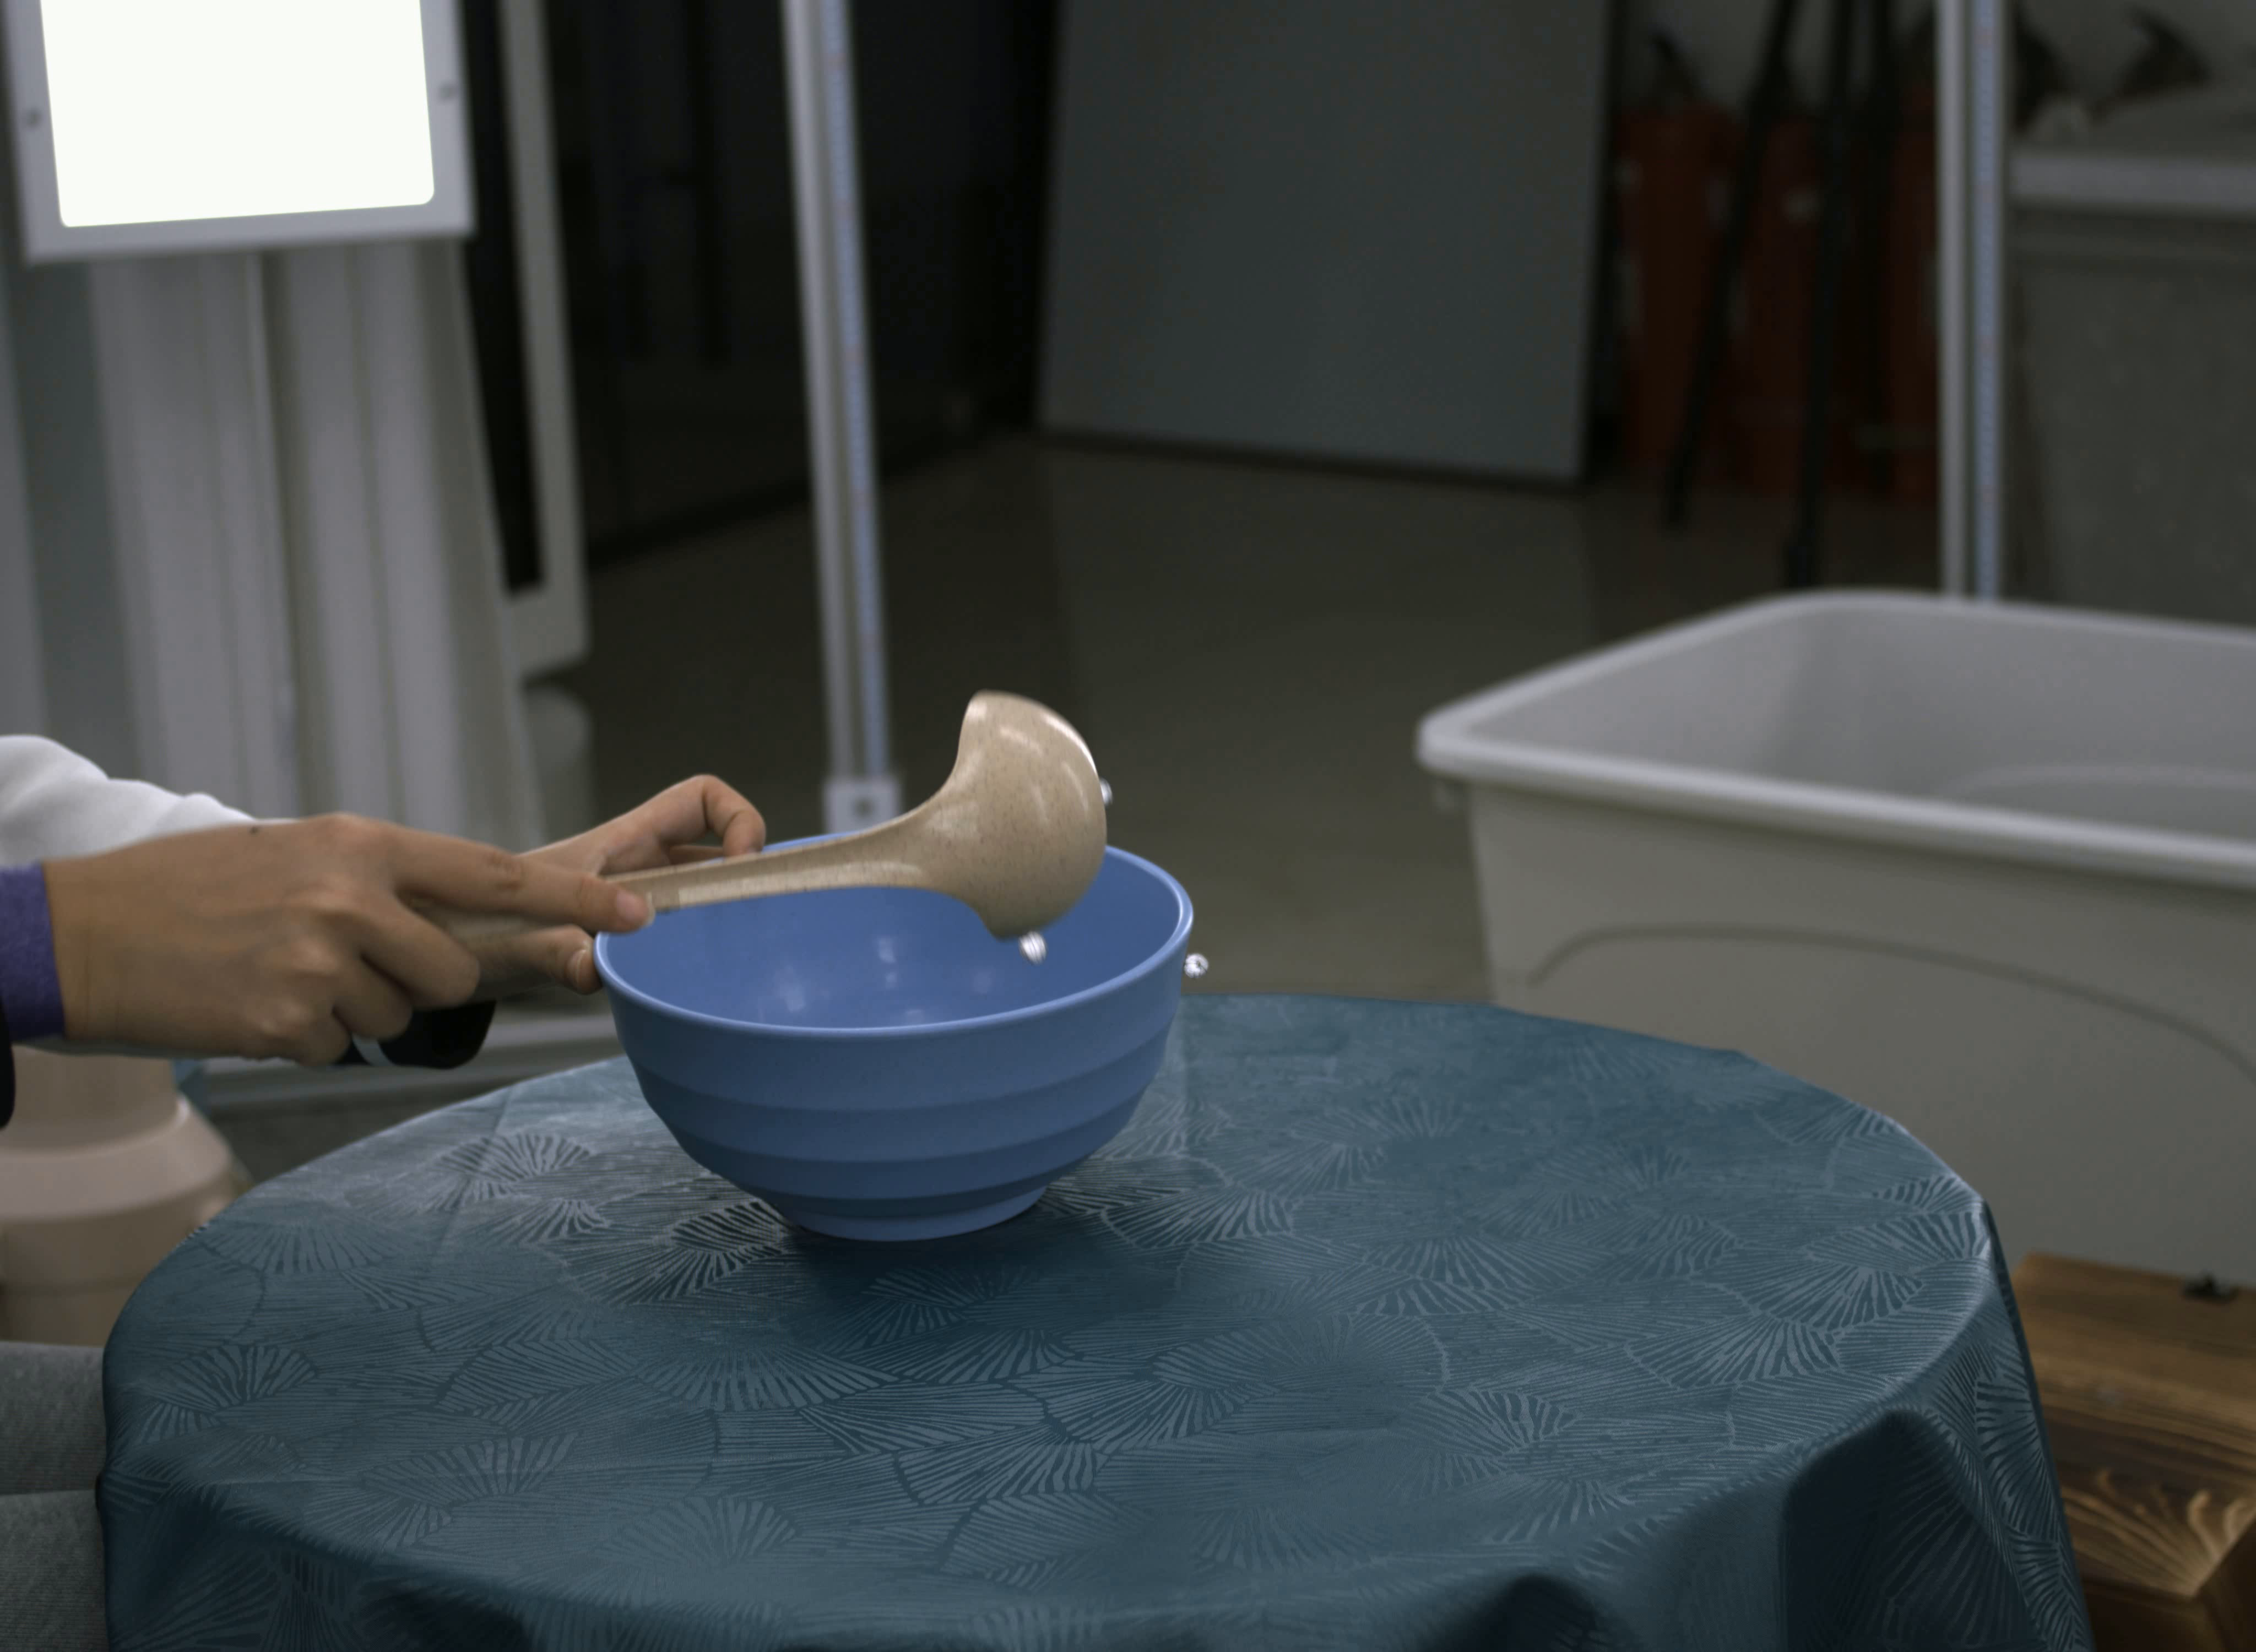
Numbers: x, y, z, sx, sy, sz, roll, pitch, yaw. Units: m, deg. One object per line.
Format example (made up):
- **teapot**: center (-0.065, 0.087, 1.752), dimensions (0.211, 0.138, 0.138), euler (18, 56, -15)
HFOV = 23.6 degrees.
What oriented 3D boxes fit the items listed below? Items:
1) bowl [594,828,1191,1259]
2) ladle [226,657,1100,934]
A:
- **bowl**: center (-0.073, 0.079, 1.764), dimensions (0.194, 0.096, 0.197), euler (-5, 20, 1)
- **ladle**: center (-0.133, -0.001, 1.542), dimensions (0.250, 0.073, 0.073), euler (-6, 20, -11)
